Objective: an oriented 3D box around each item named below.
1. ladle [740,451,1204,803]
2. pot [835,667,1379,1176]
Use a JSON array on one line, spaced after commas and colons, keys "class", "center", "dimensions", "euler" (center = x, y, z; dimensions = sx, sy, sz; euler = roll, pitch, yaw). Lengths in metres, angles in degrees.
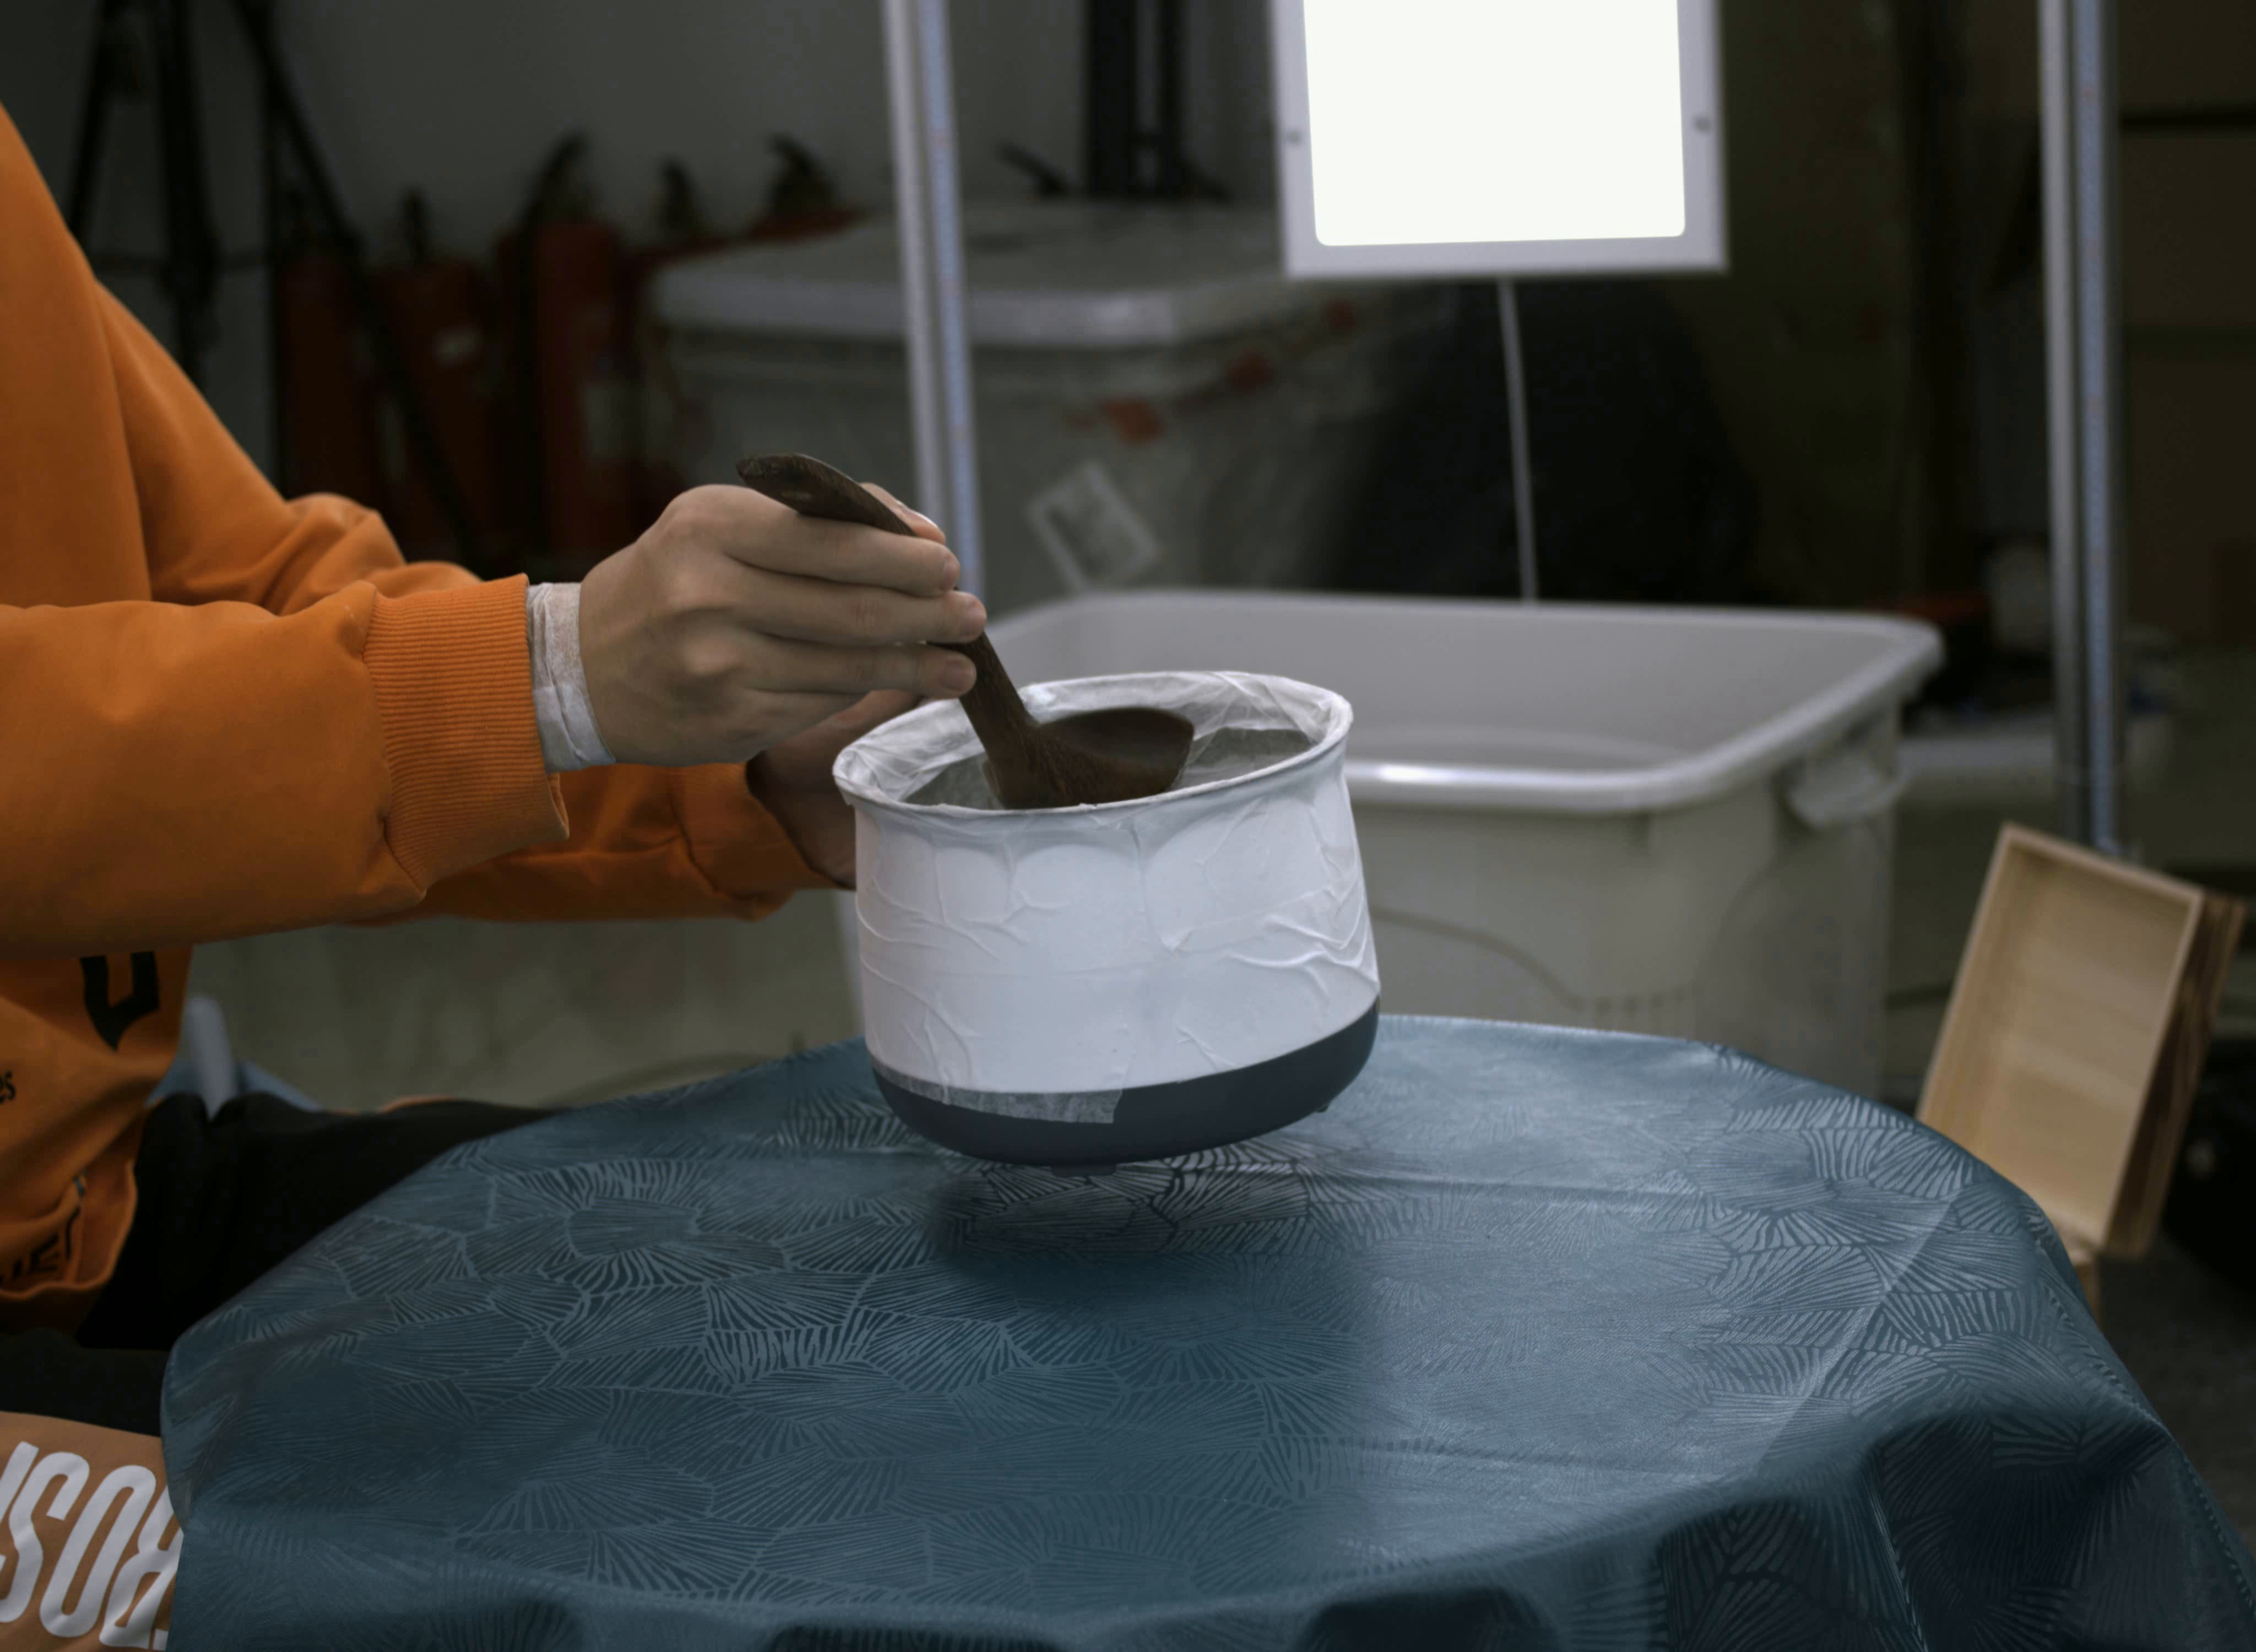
[{"class": "ladle", "center": [-0.052, -0.074, 1.776], "dimensions": [0.077, 0.071, 0.271], "euler": [-4, -31, 24]}, {"class": "pot", "center": [-0.020, 0.026, 1.888], "dimensions": [0.175, 0.137, 0.238], "euler": [-15, 17, -29]}]
